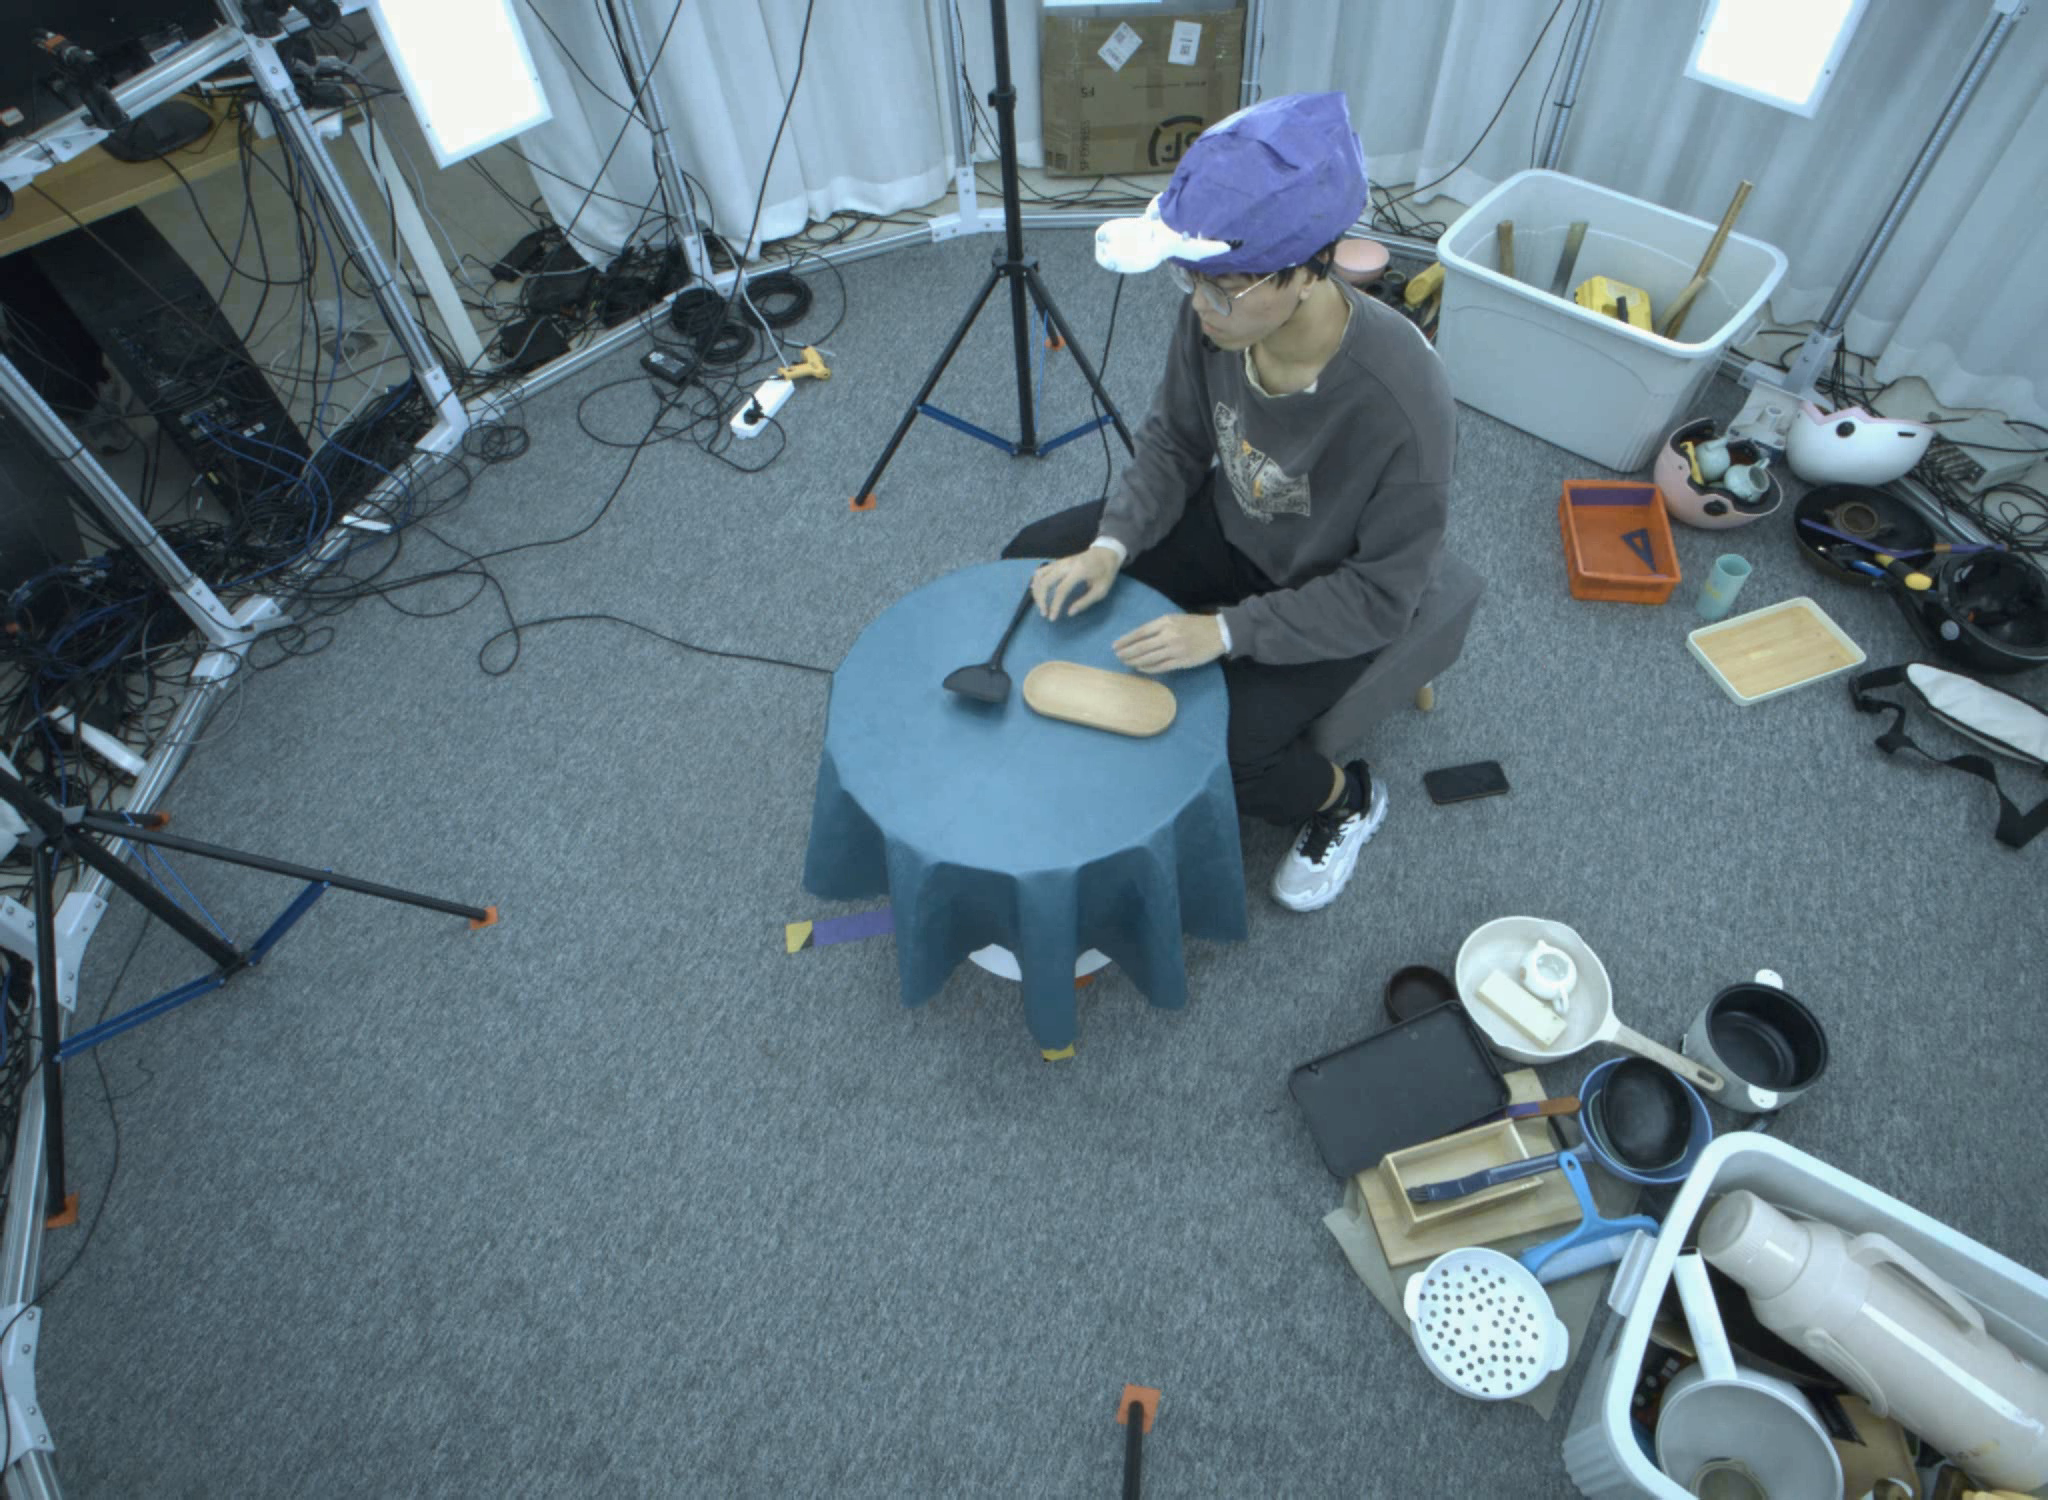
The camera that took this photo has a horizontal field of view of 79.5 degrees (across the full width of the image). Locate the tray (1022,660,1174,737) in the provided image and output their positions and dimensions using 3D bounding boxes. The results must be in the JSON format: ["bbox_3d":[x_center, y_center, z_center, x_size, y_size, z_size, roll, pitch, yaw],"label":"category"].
[{"bbox_3d":[0.109,-0.076,1.826,0.229,0.020,0.101,13,56,13],"label":"tray"}]

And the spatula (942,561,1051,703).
[{"bbox_3d":[-0.021,-0.191,1.900,0.099,0.041,0.326,17,57,13],"label":"spatula"}]
